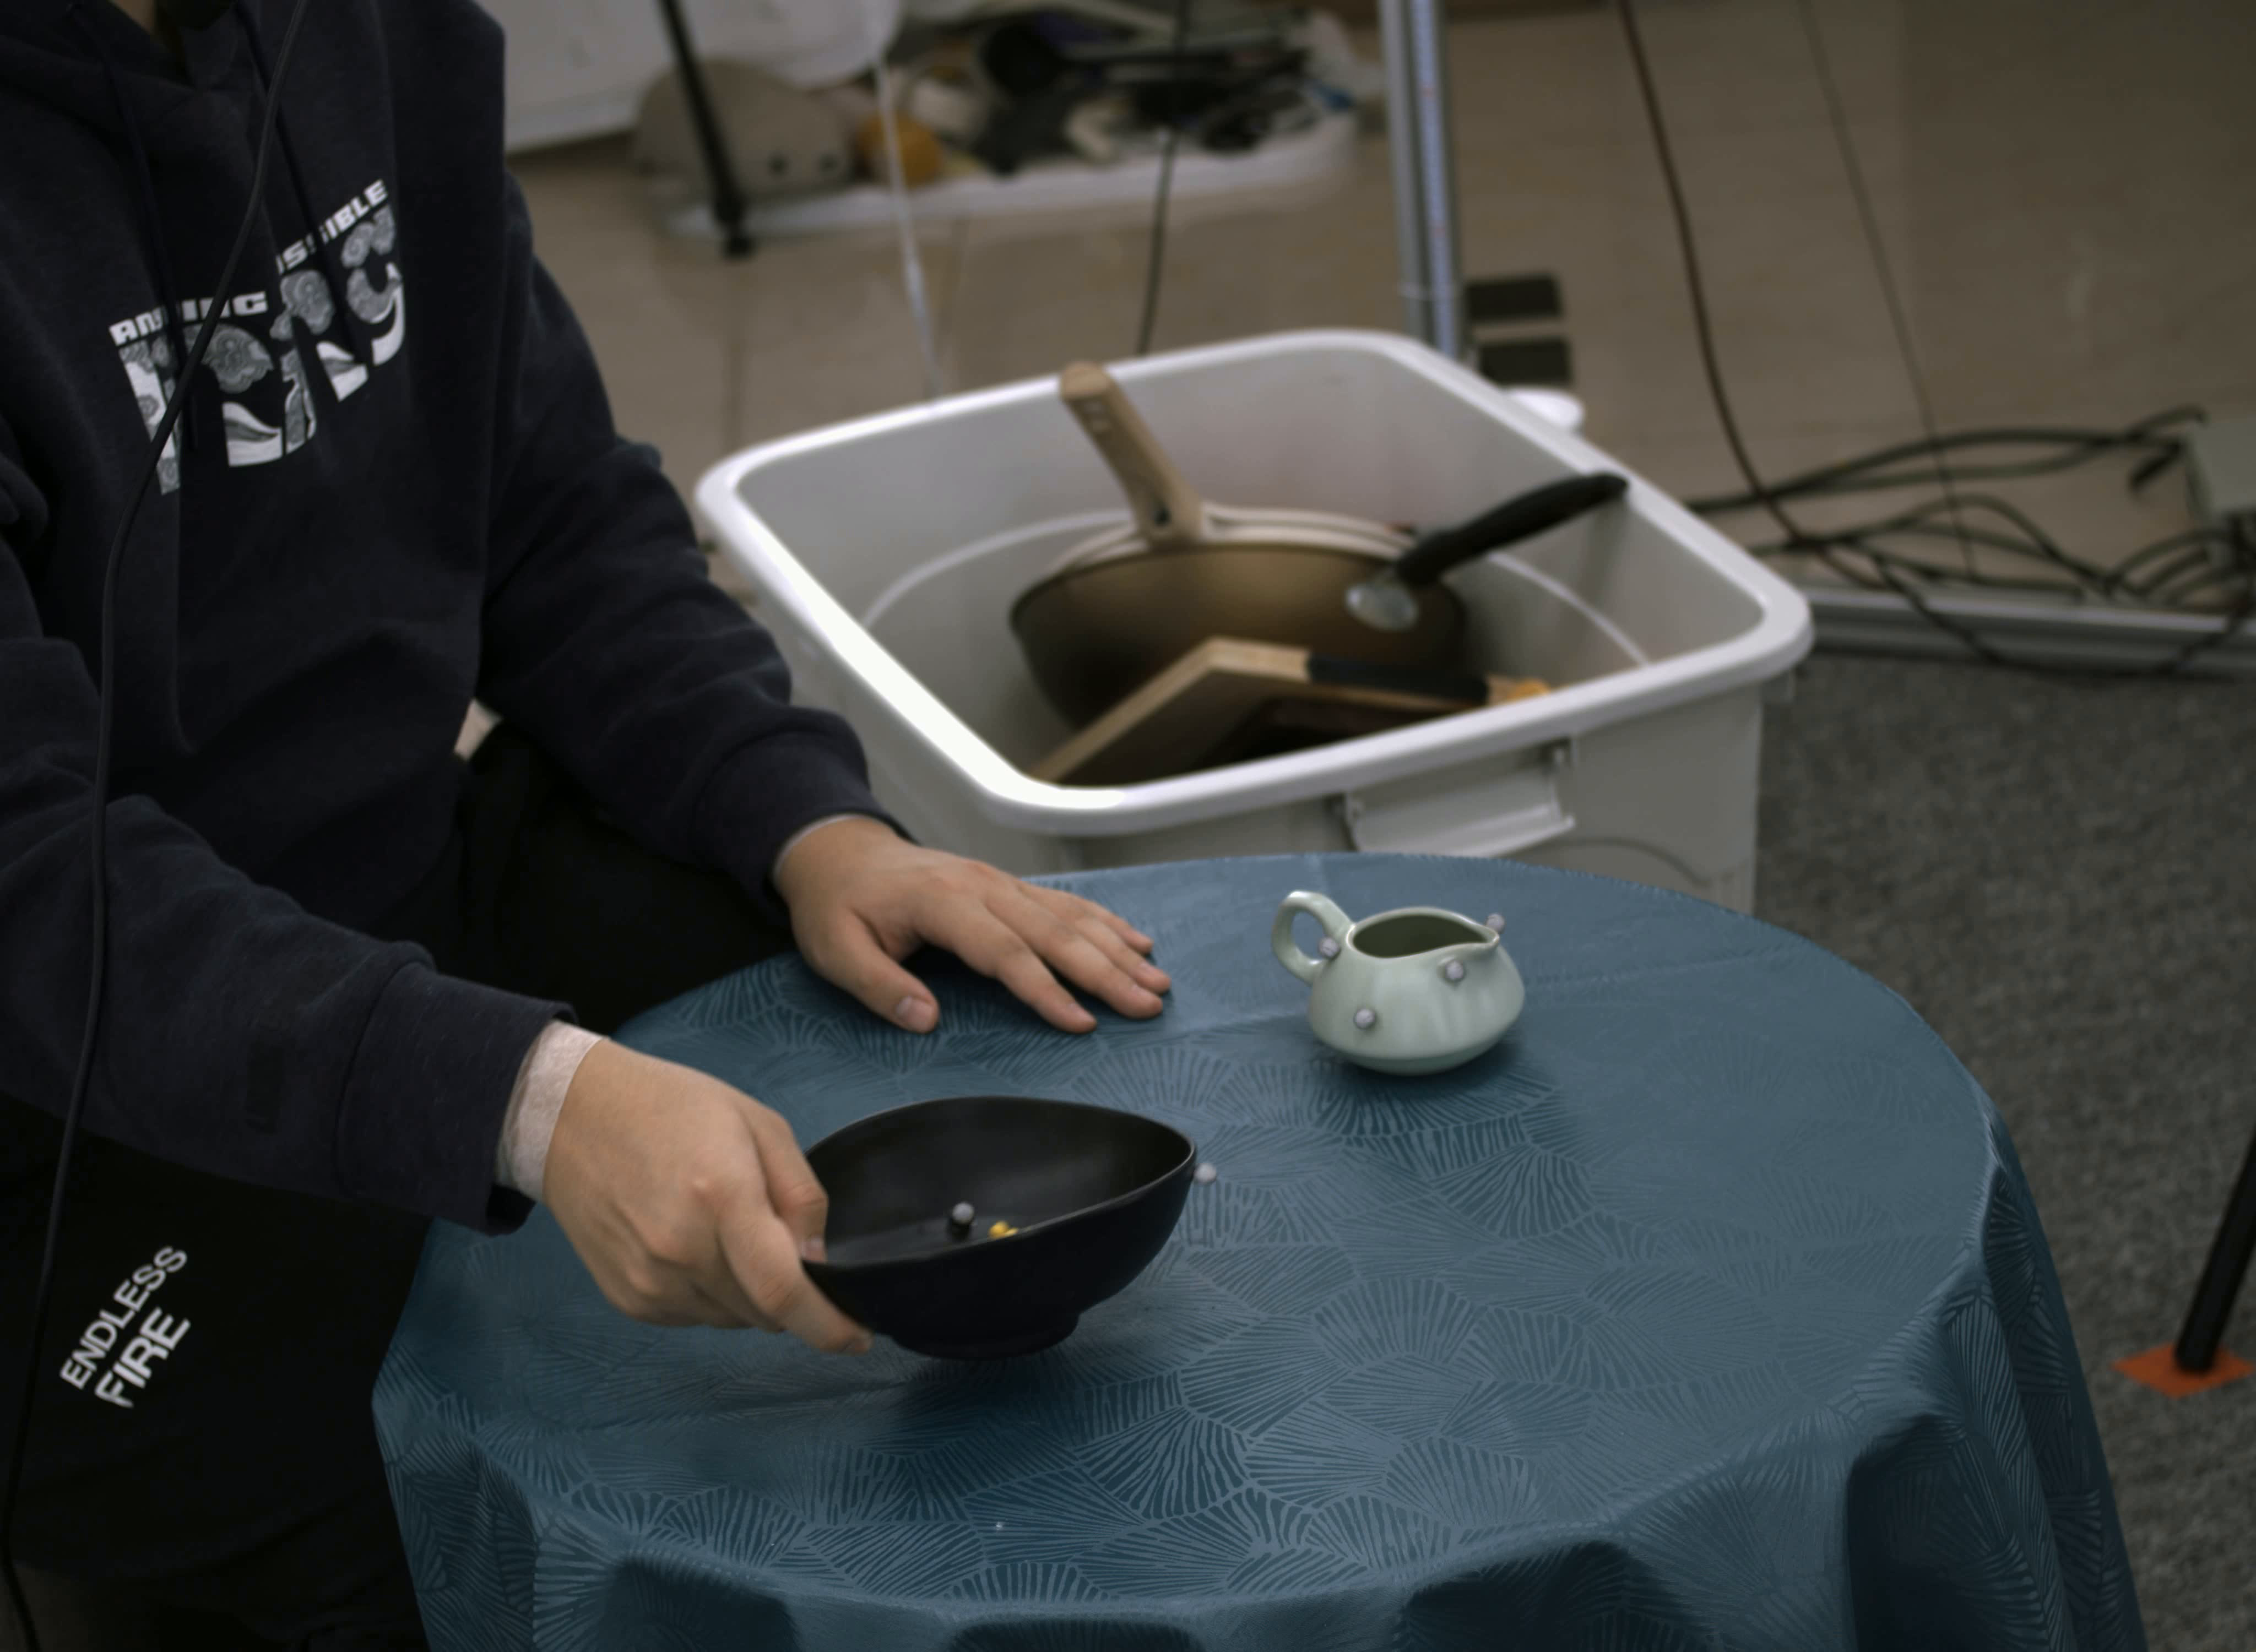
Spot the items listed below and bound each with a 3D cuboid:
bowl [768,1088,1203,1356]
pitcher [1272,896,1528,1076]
[{"bbox_3d":[-0.049,0.148,2.033,0.136,0.067,0.169,14,23,43],"label":"bowl"},{"bbox_3d":[0.103,0.061,2.226,0.107,0.061,0.085,9,28,34],"label":"pitcher"}]
